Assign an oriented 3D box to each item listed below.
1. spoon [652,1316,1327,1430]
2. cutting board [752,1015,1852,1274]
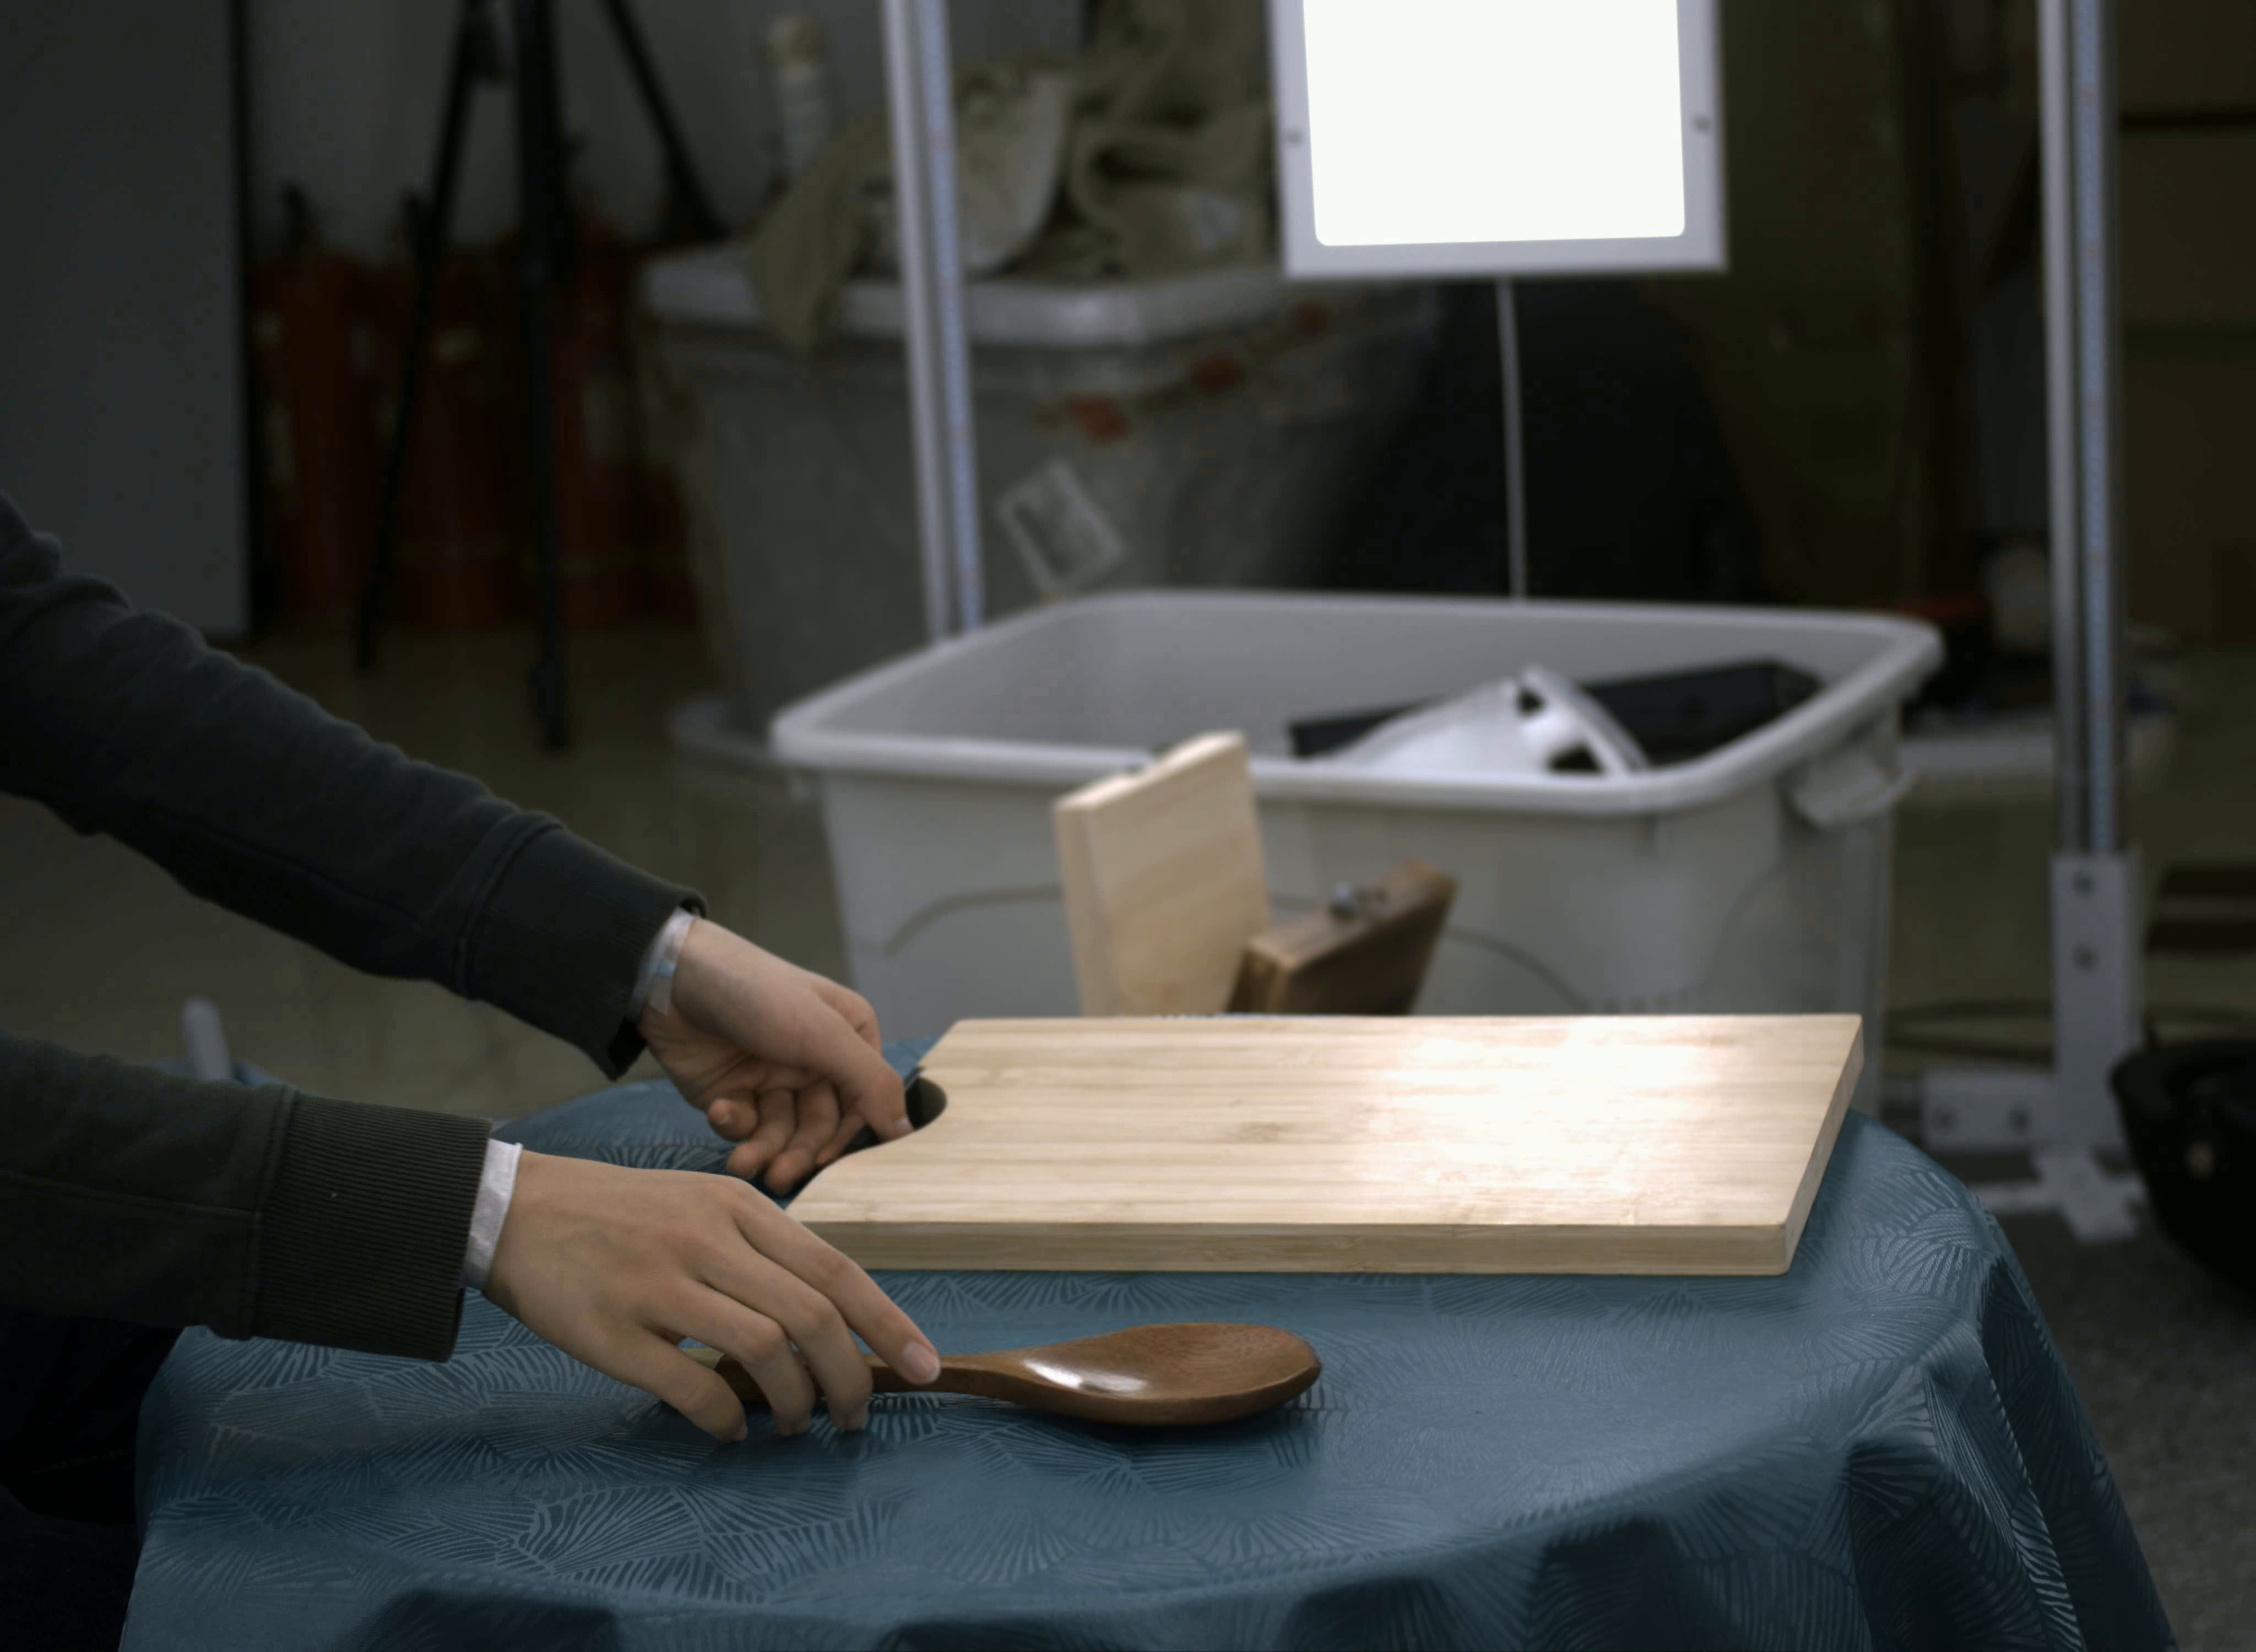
[{"bbox_3d":[-0.044,0.169,1.701,0.218,0.017,0.074,0,16,17],"label":"spoon"},{"bbox_3d":[0.068,0.109,1.912,0.352,0.023,0.247,-1,13,15],"label":"cutting board"}]
